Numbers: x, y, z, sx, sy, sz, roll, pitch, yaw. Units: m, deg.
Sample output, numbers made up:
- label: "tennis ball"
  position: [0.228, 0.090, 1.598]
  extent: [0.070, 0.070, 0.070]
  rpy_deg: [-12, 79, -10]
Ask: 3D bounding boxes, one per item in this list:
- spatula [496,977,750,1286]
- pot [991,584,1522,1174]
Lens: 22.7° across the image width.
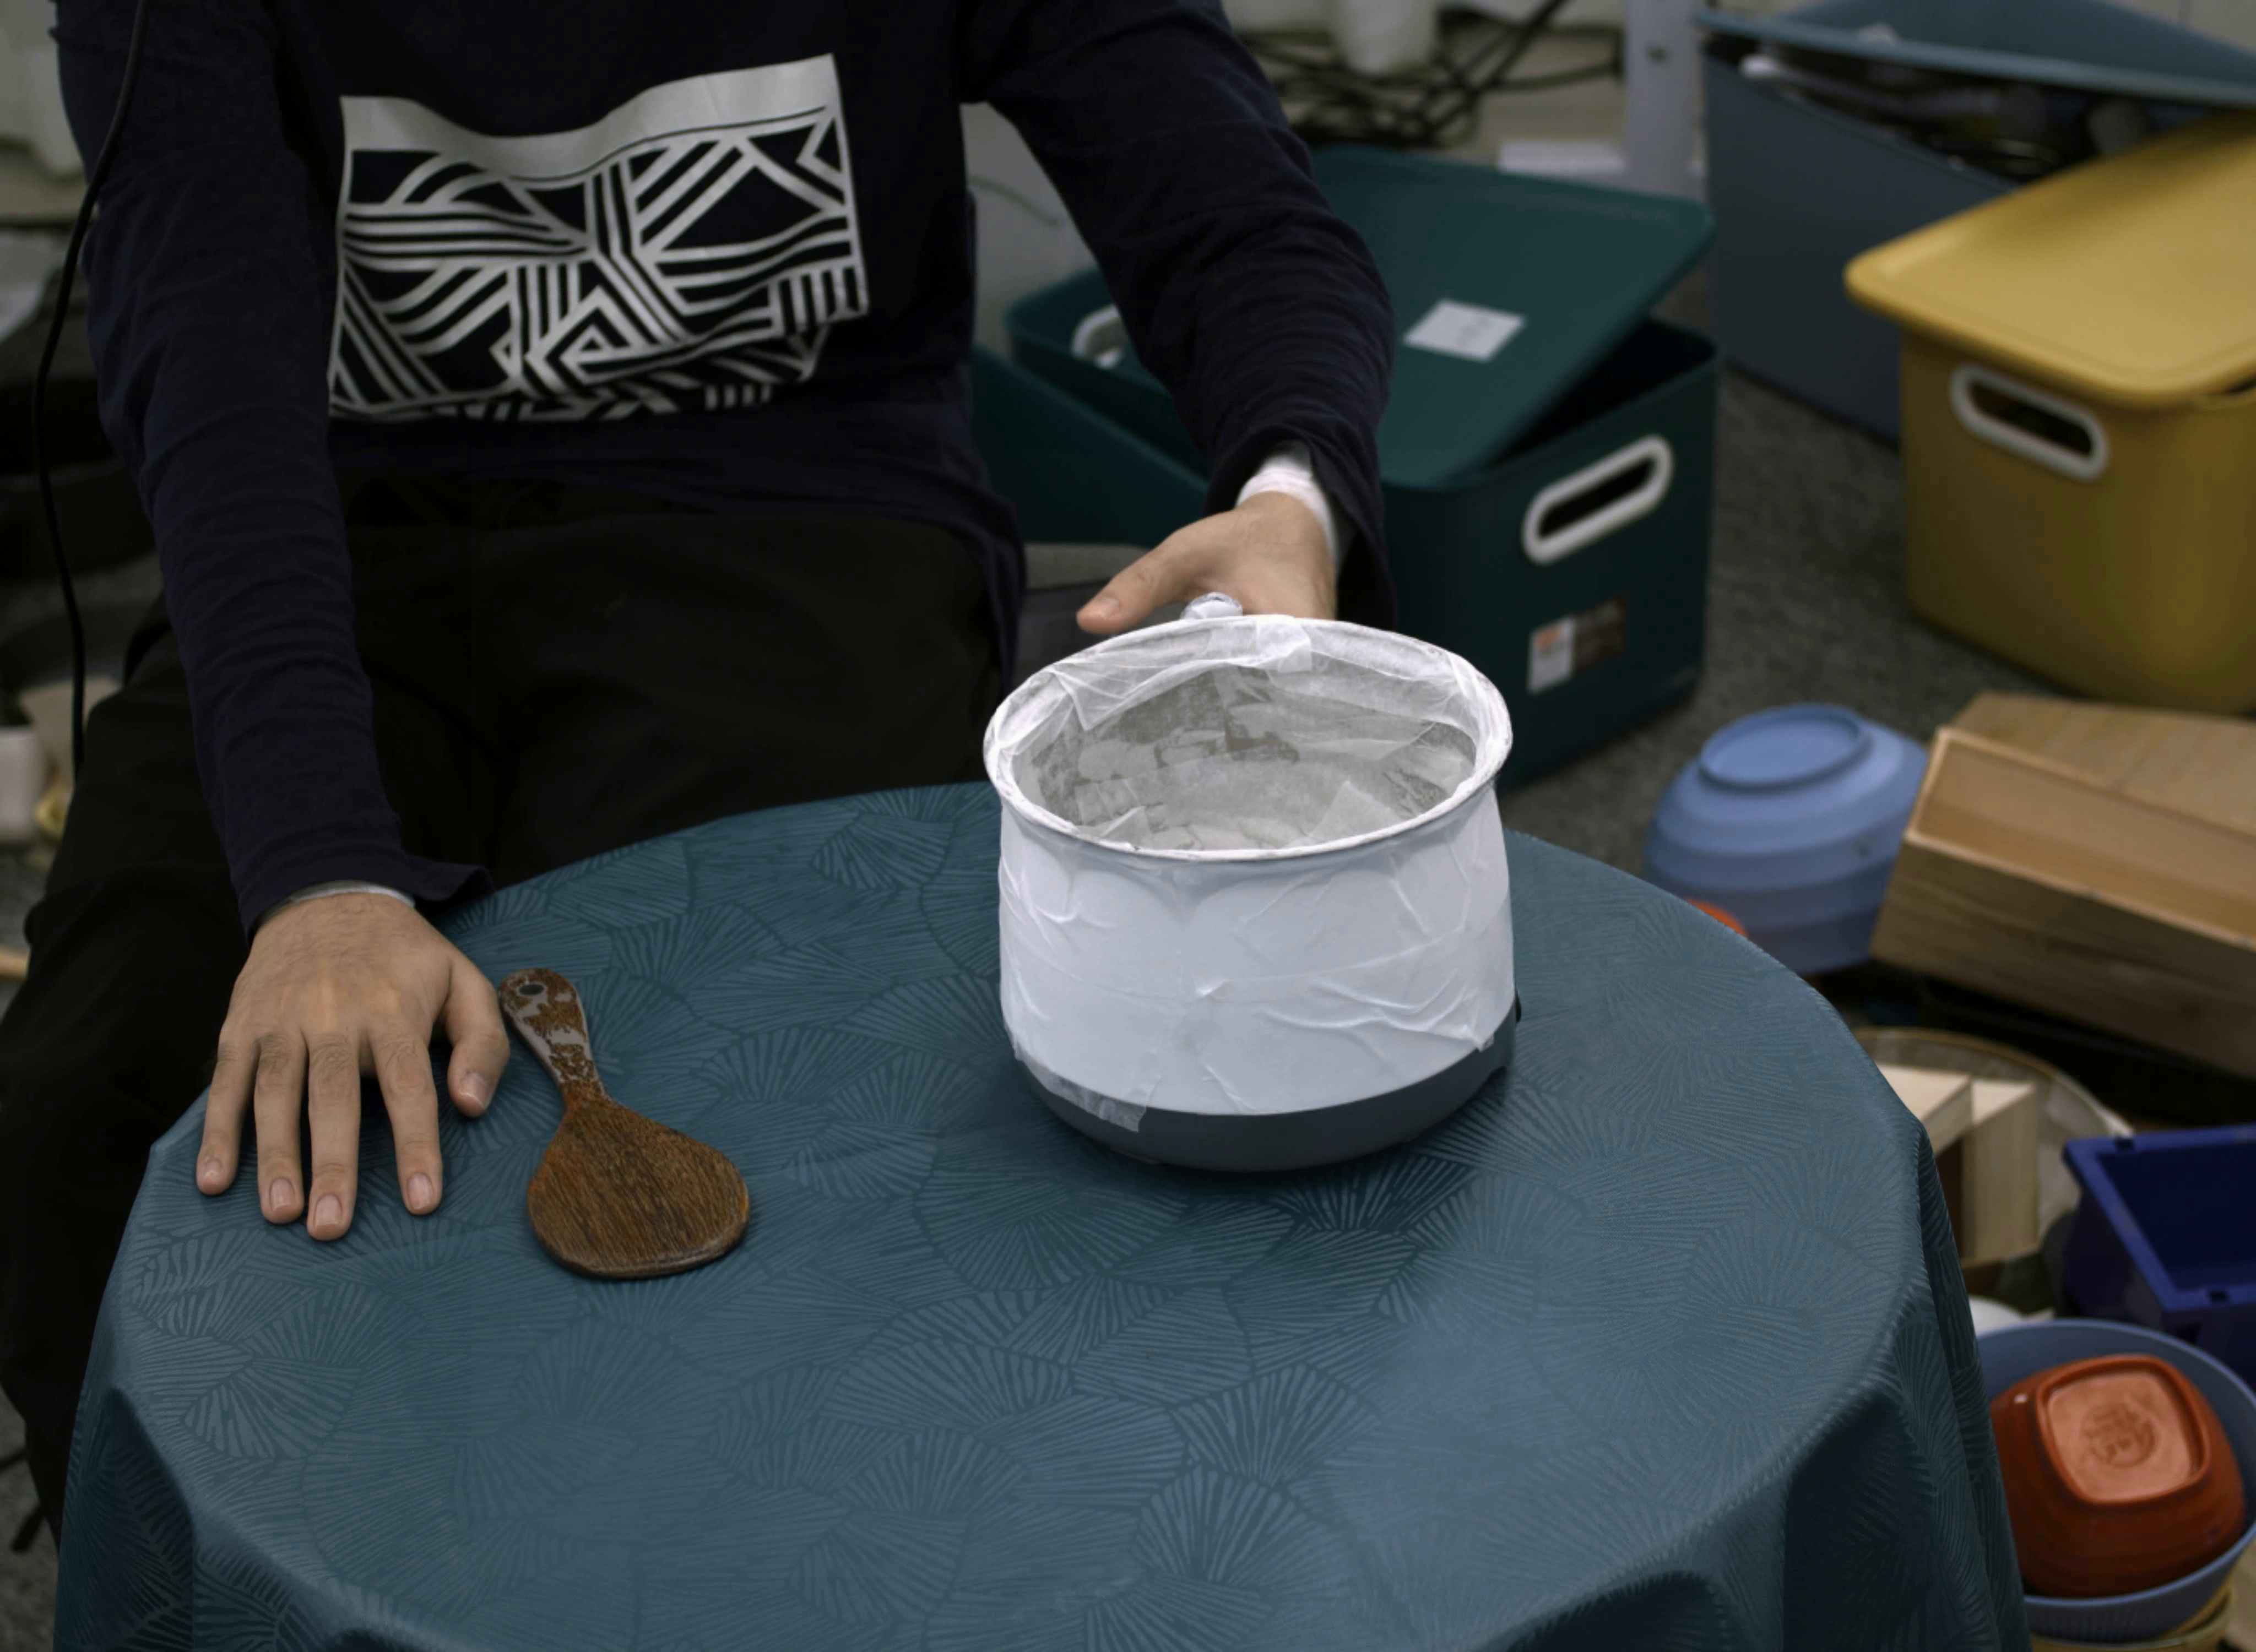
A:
- label: "spatula"
  position: [-0.182, 0.100, 1.916]
  extent: [0.072, 0.009, 0.217]
  rpy_deg: [-9, 27, -15]
- label: "pot"
  position: [0.039, 0.011, 1.922]
  extent: [0.178, 0.135, 0.237]
  rpy_deg: [-3, 28, -7]
